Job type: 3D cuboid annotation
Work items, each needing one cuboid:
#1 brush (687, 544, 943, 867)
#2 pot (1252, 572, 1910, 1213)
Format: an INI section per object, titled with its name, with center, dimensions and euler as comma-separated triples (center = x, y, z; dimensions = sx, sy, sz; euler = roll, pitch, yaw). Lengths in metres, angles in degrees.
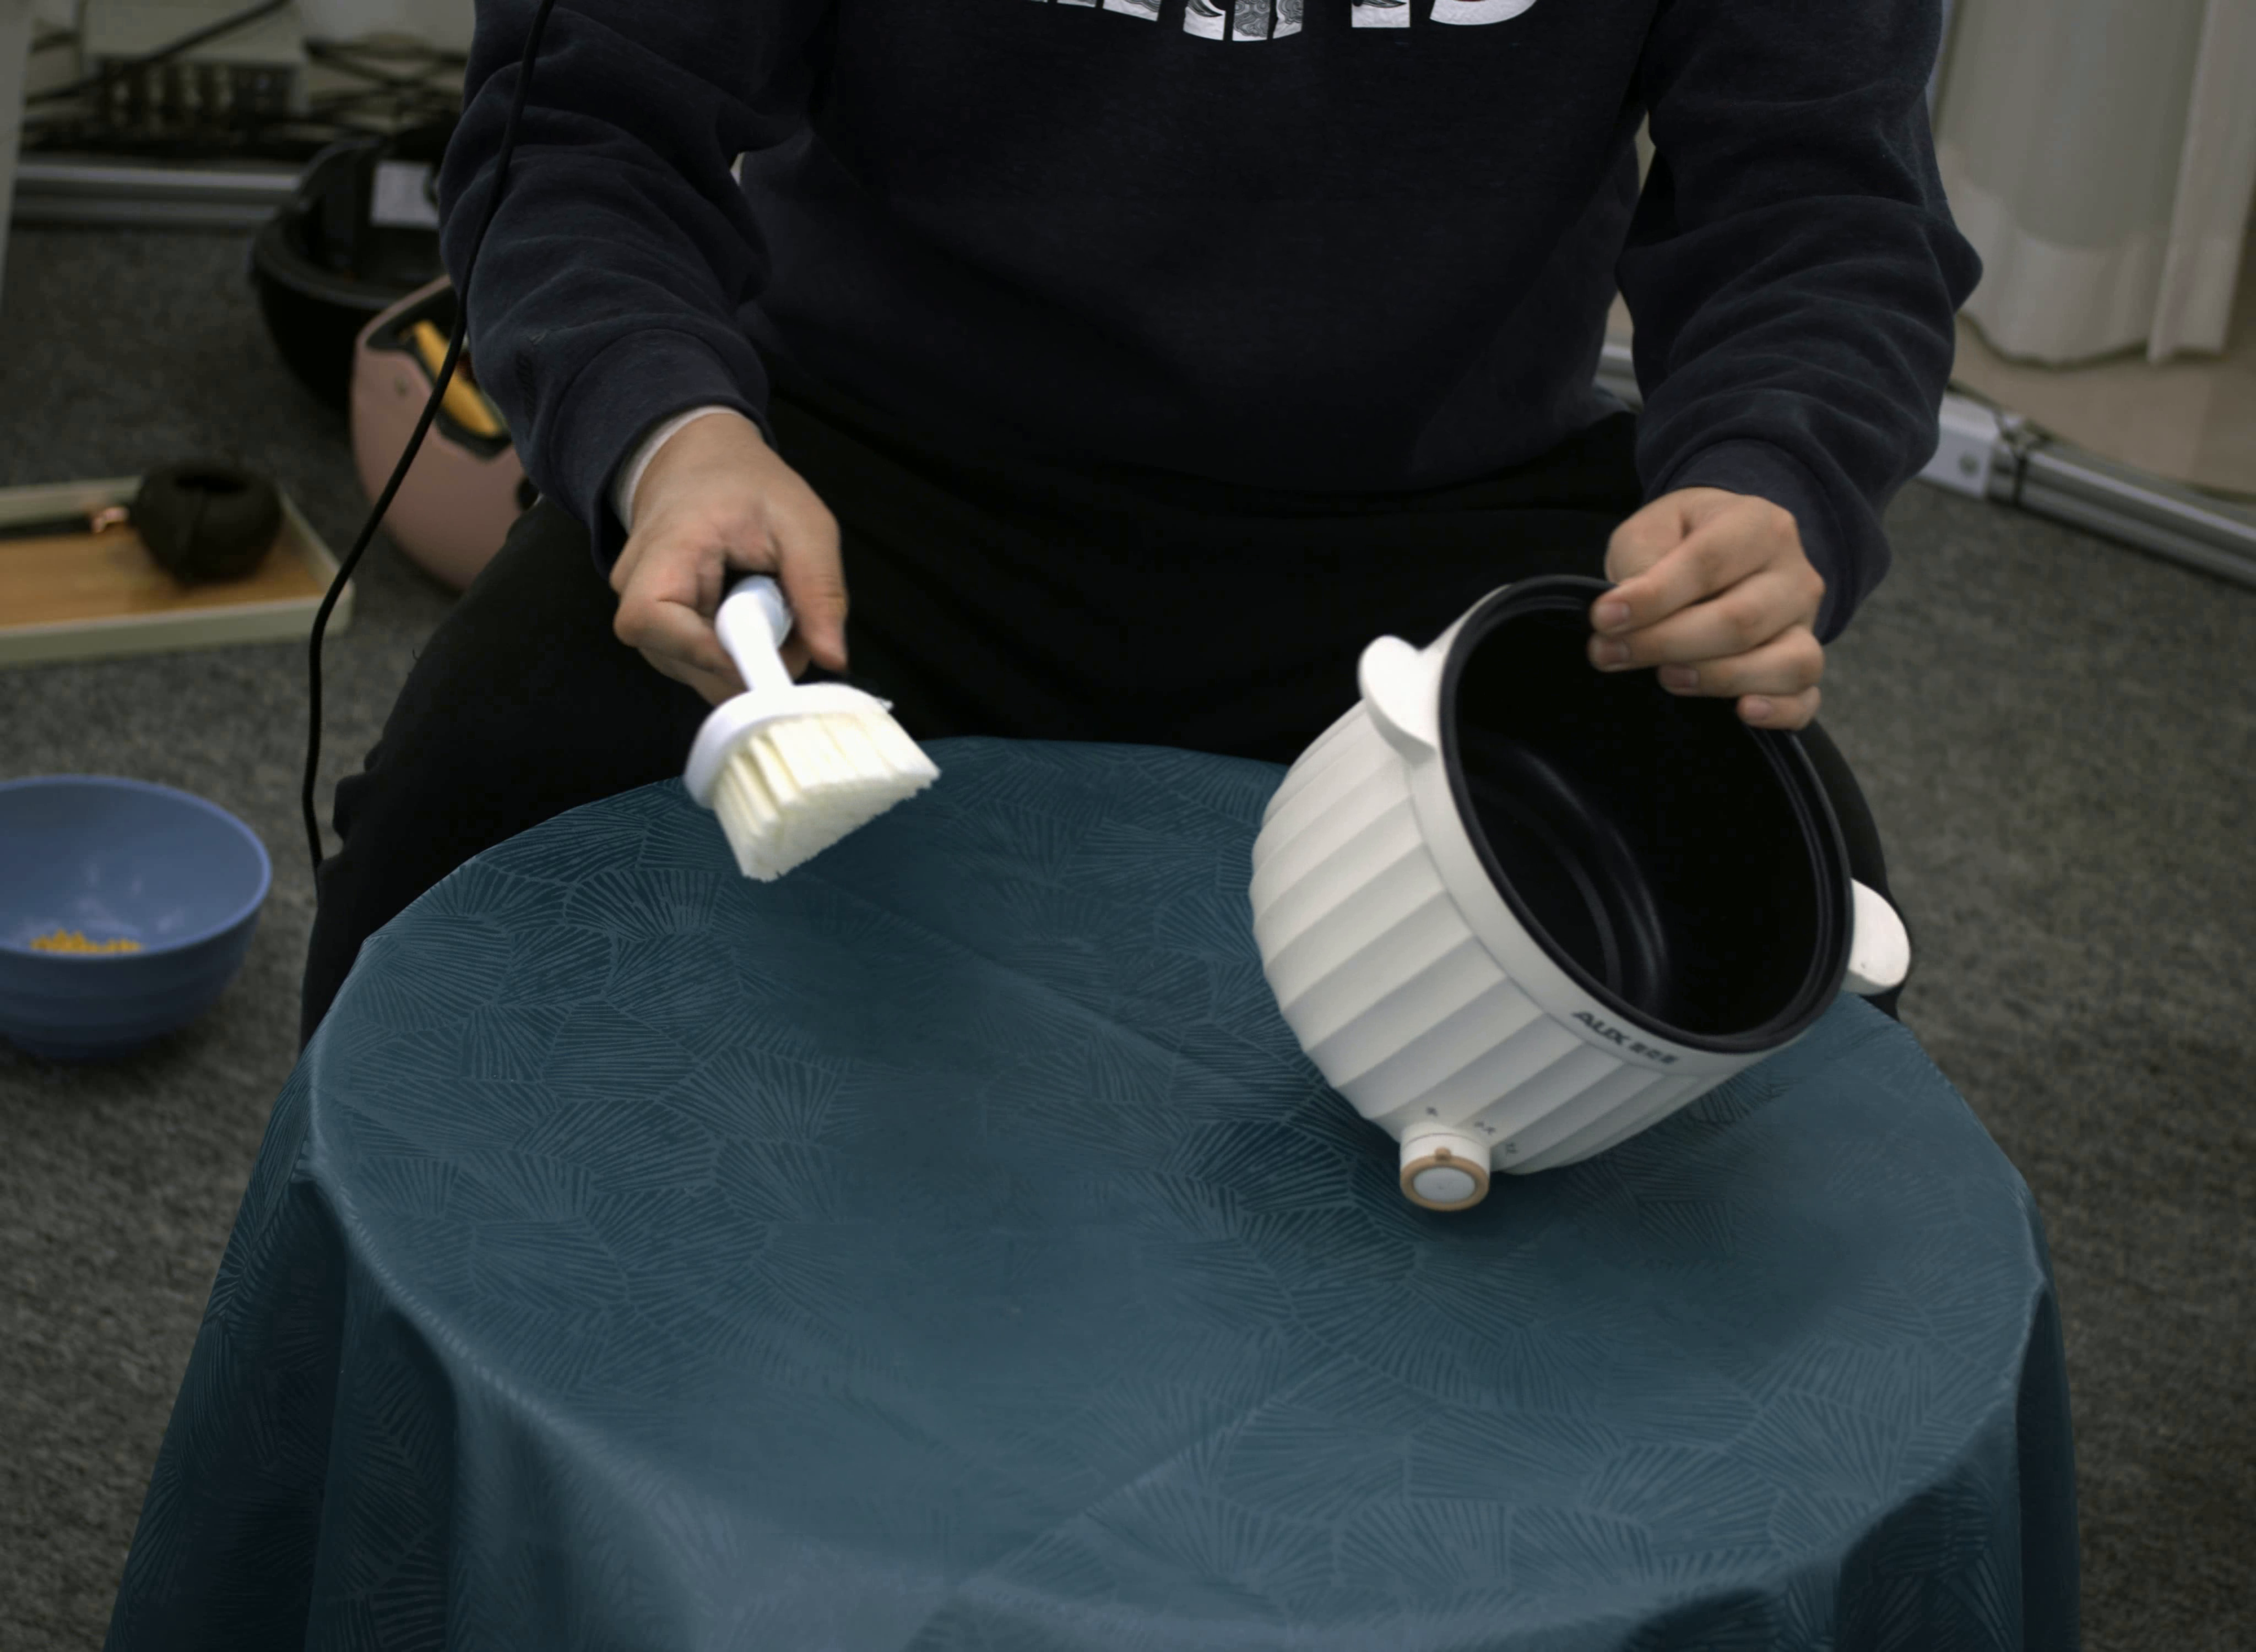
[brush]
center = -0.104, -0.037, 1.834
dimensions = 0.083, 0.084, 0.326
euler = 5, 9, -2
[pot]
center = 0.139, 0.029, 1.825
dimensions = 0.238, 0.142, 0.192
euler = 27, 44, -25
